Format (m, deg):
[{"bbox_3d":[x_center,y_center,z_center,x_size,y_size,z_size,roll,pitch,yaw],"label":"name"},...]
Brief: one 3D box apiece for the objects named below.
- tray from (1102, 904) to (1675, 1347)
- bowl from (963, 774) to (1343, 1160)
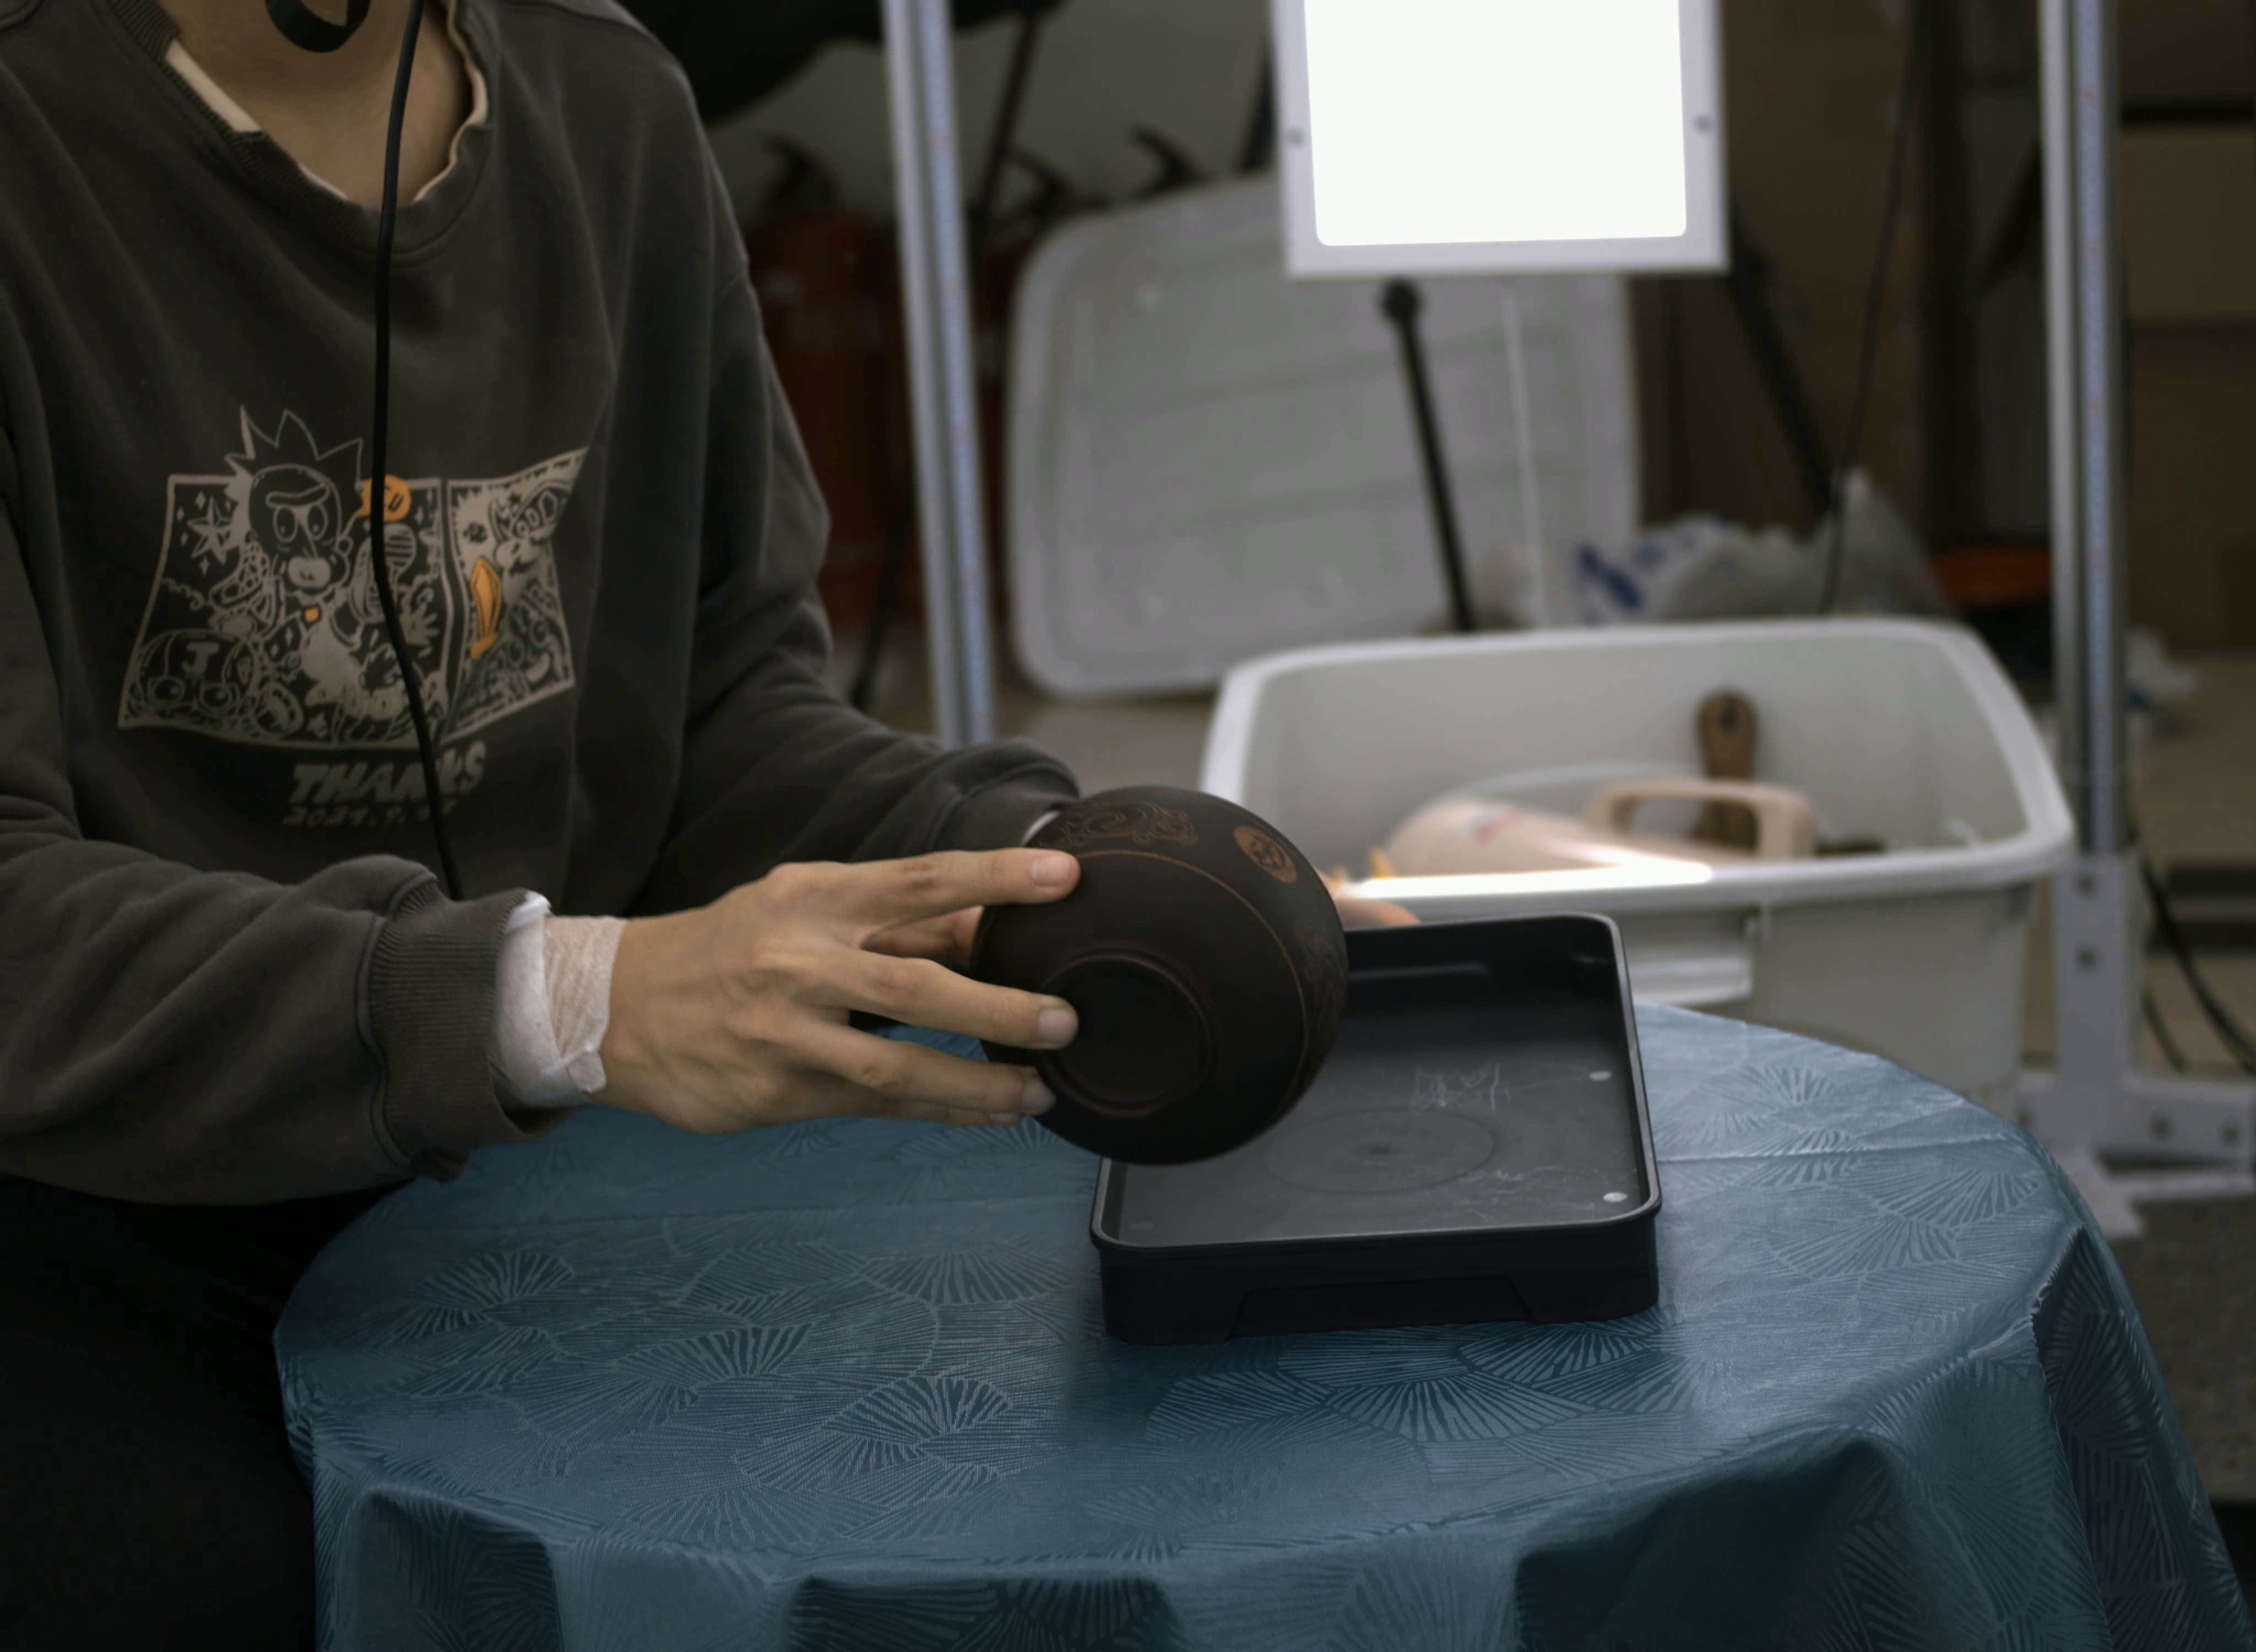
[{"bbox_3d":[0.086,0.097,1.881,0.184,0.037,0.316,-6,17,3],"label":"tray"},{"bbox_3d":[0.004,0.050,1.696,0.119,0.118,0.069,0,23,16],"label":"bowl"}]
